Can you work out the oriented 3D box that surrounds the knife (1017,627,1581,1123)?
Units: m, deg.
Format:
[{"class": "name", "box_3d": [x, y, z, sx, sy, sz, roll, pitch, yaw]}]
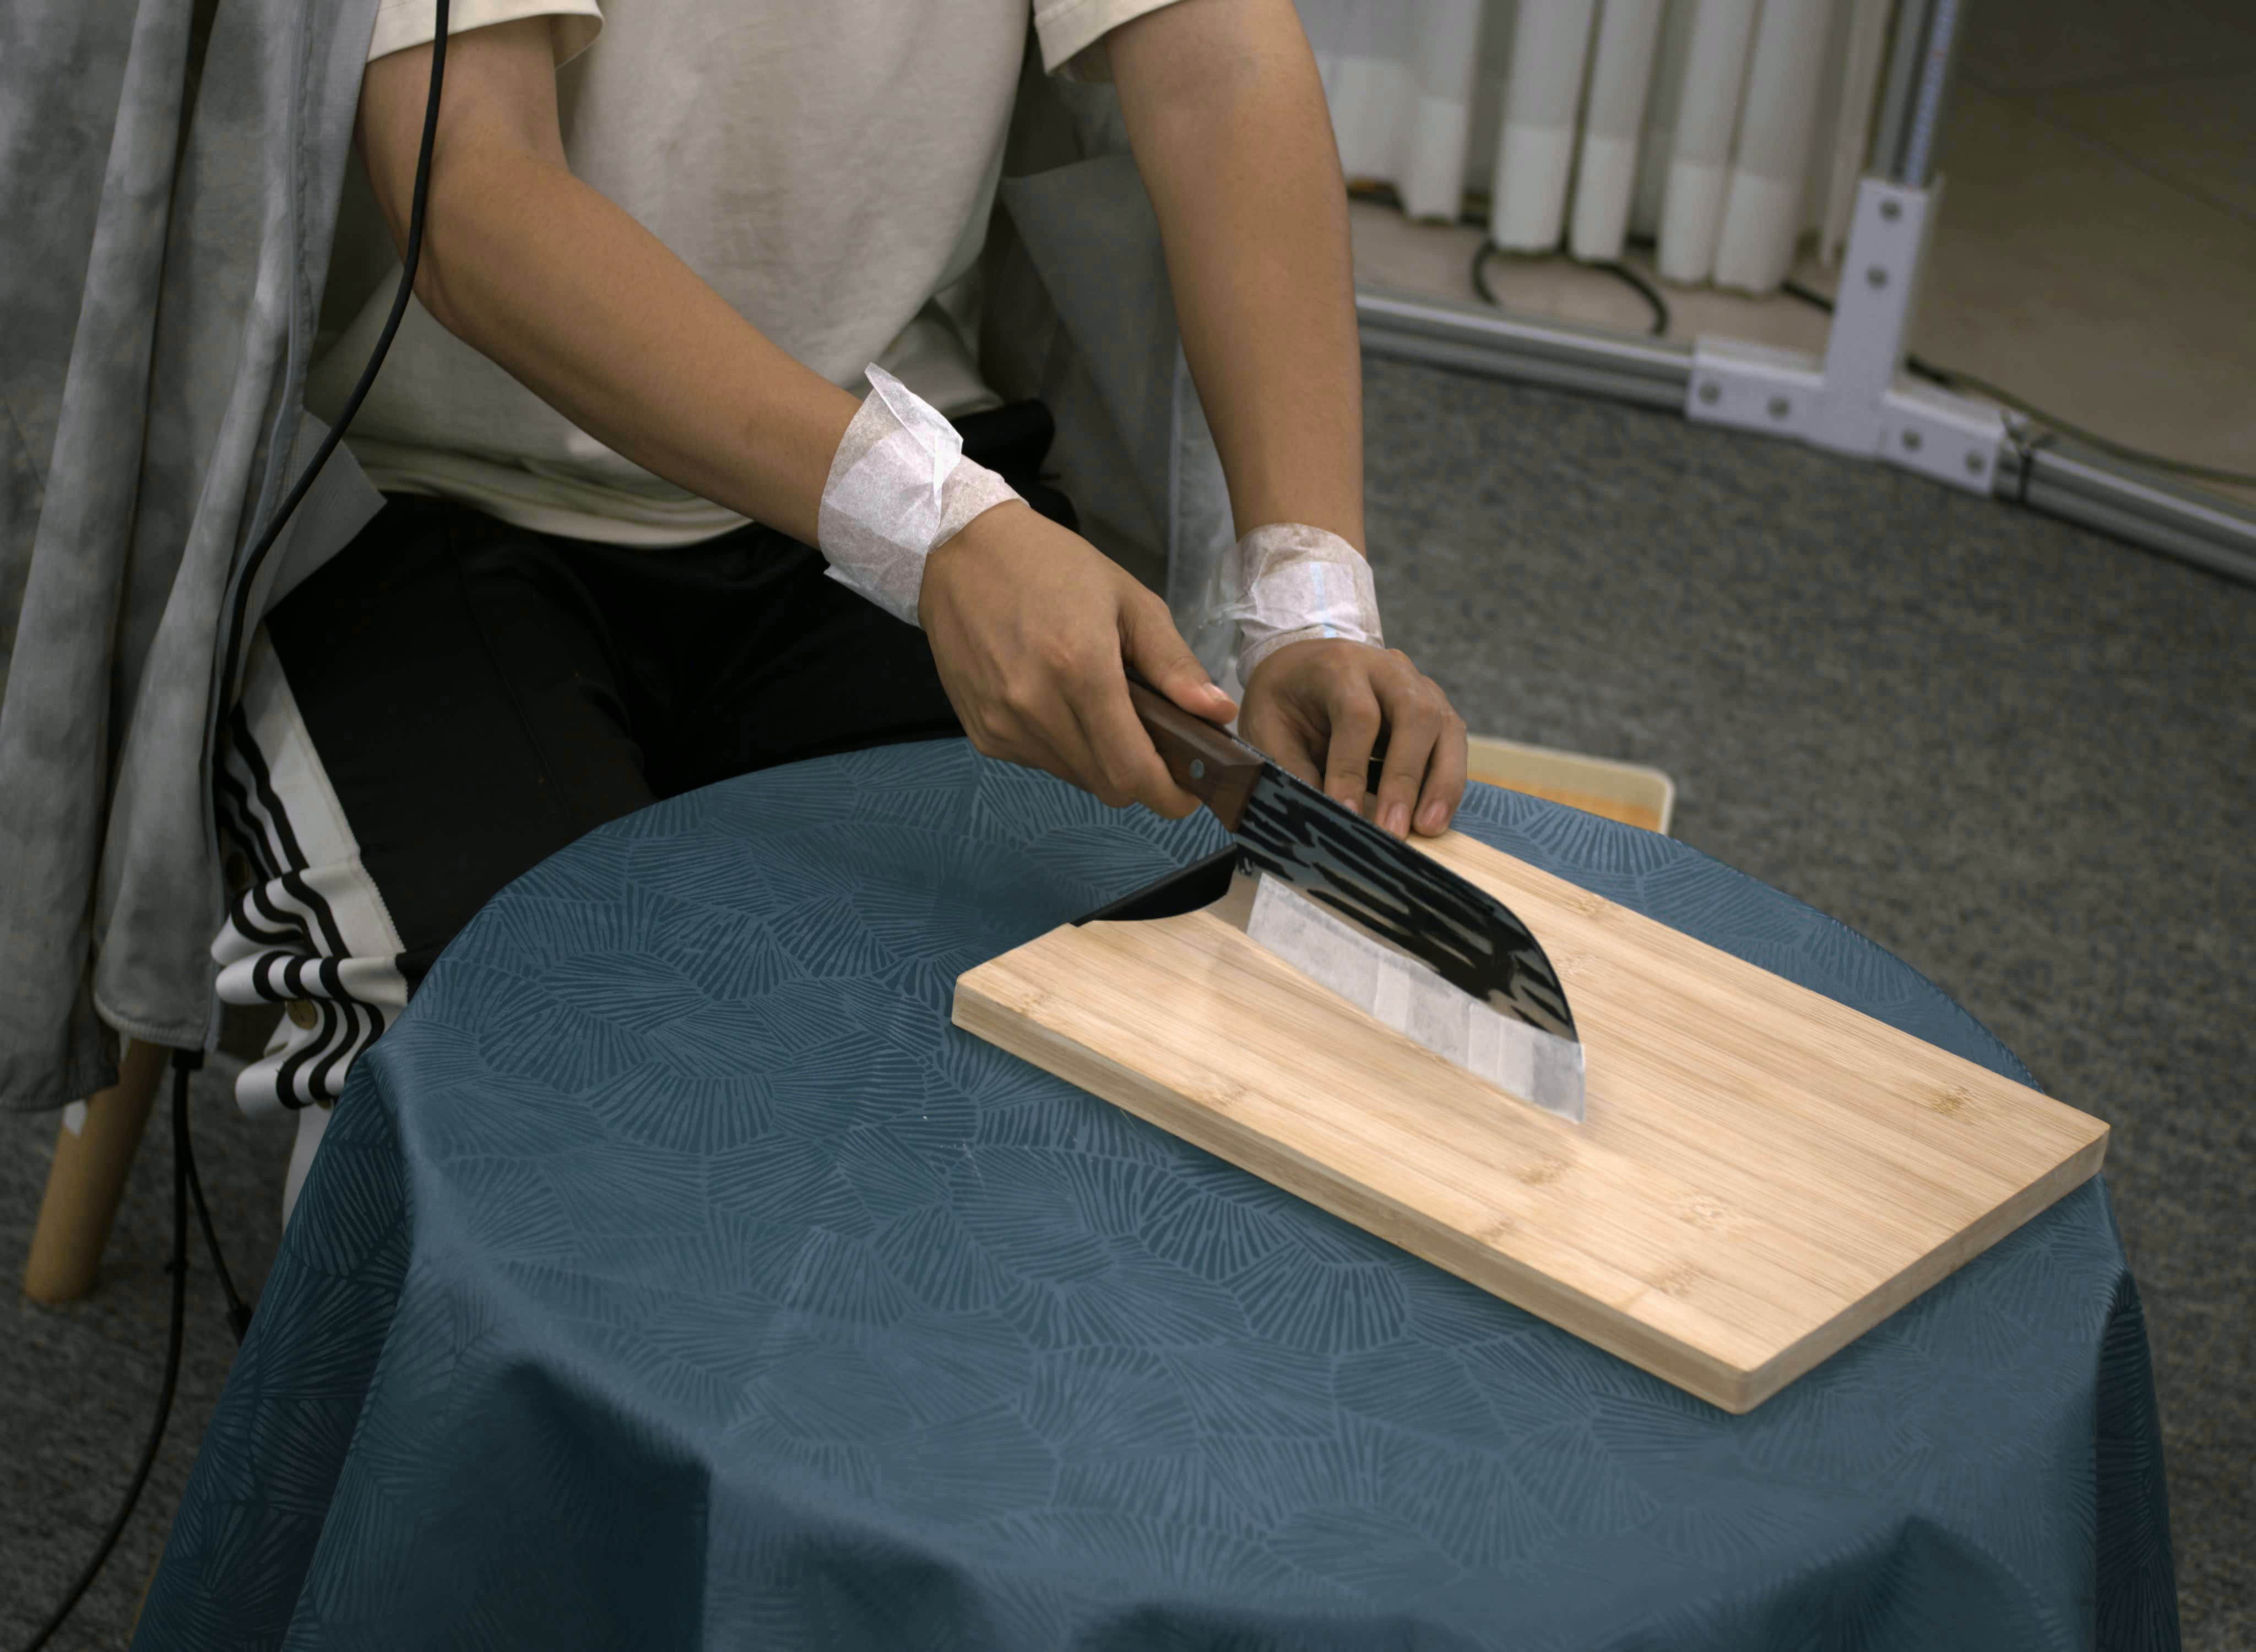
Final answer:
[{"class": "knife", "box_3d": [0.059, 0.015, 1.908, 0.024, 0.068, 0.302, -11, 34, -44]}]

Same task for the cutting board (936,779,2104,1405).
[{"class": "cutting board", "box_3d": [0.138, 0.087, 1.891, 0.351, 0.023, 0.250, 24, 31, 31]}]
